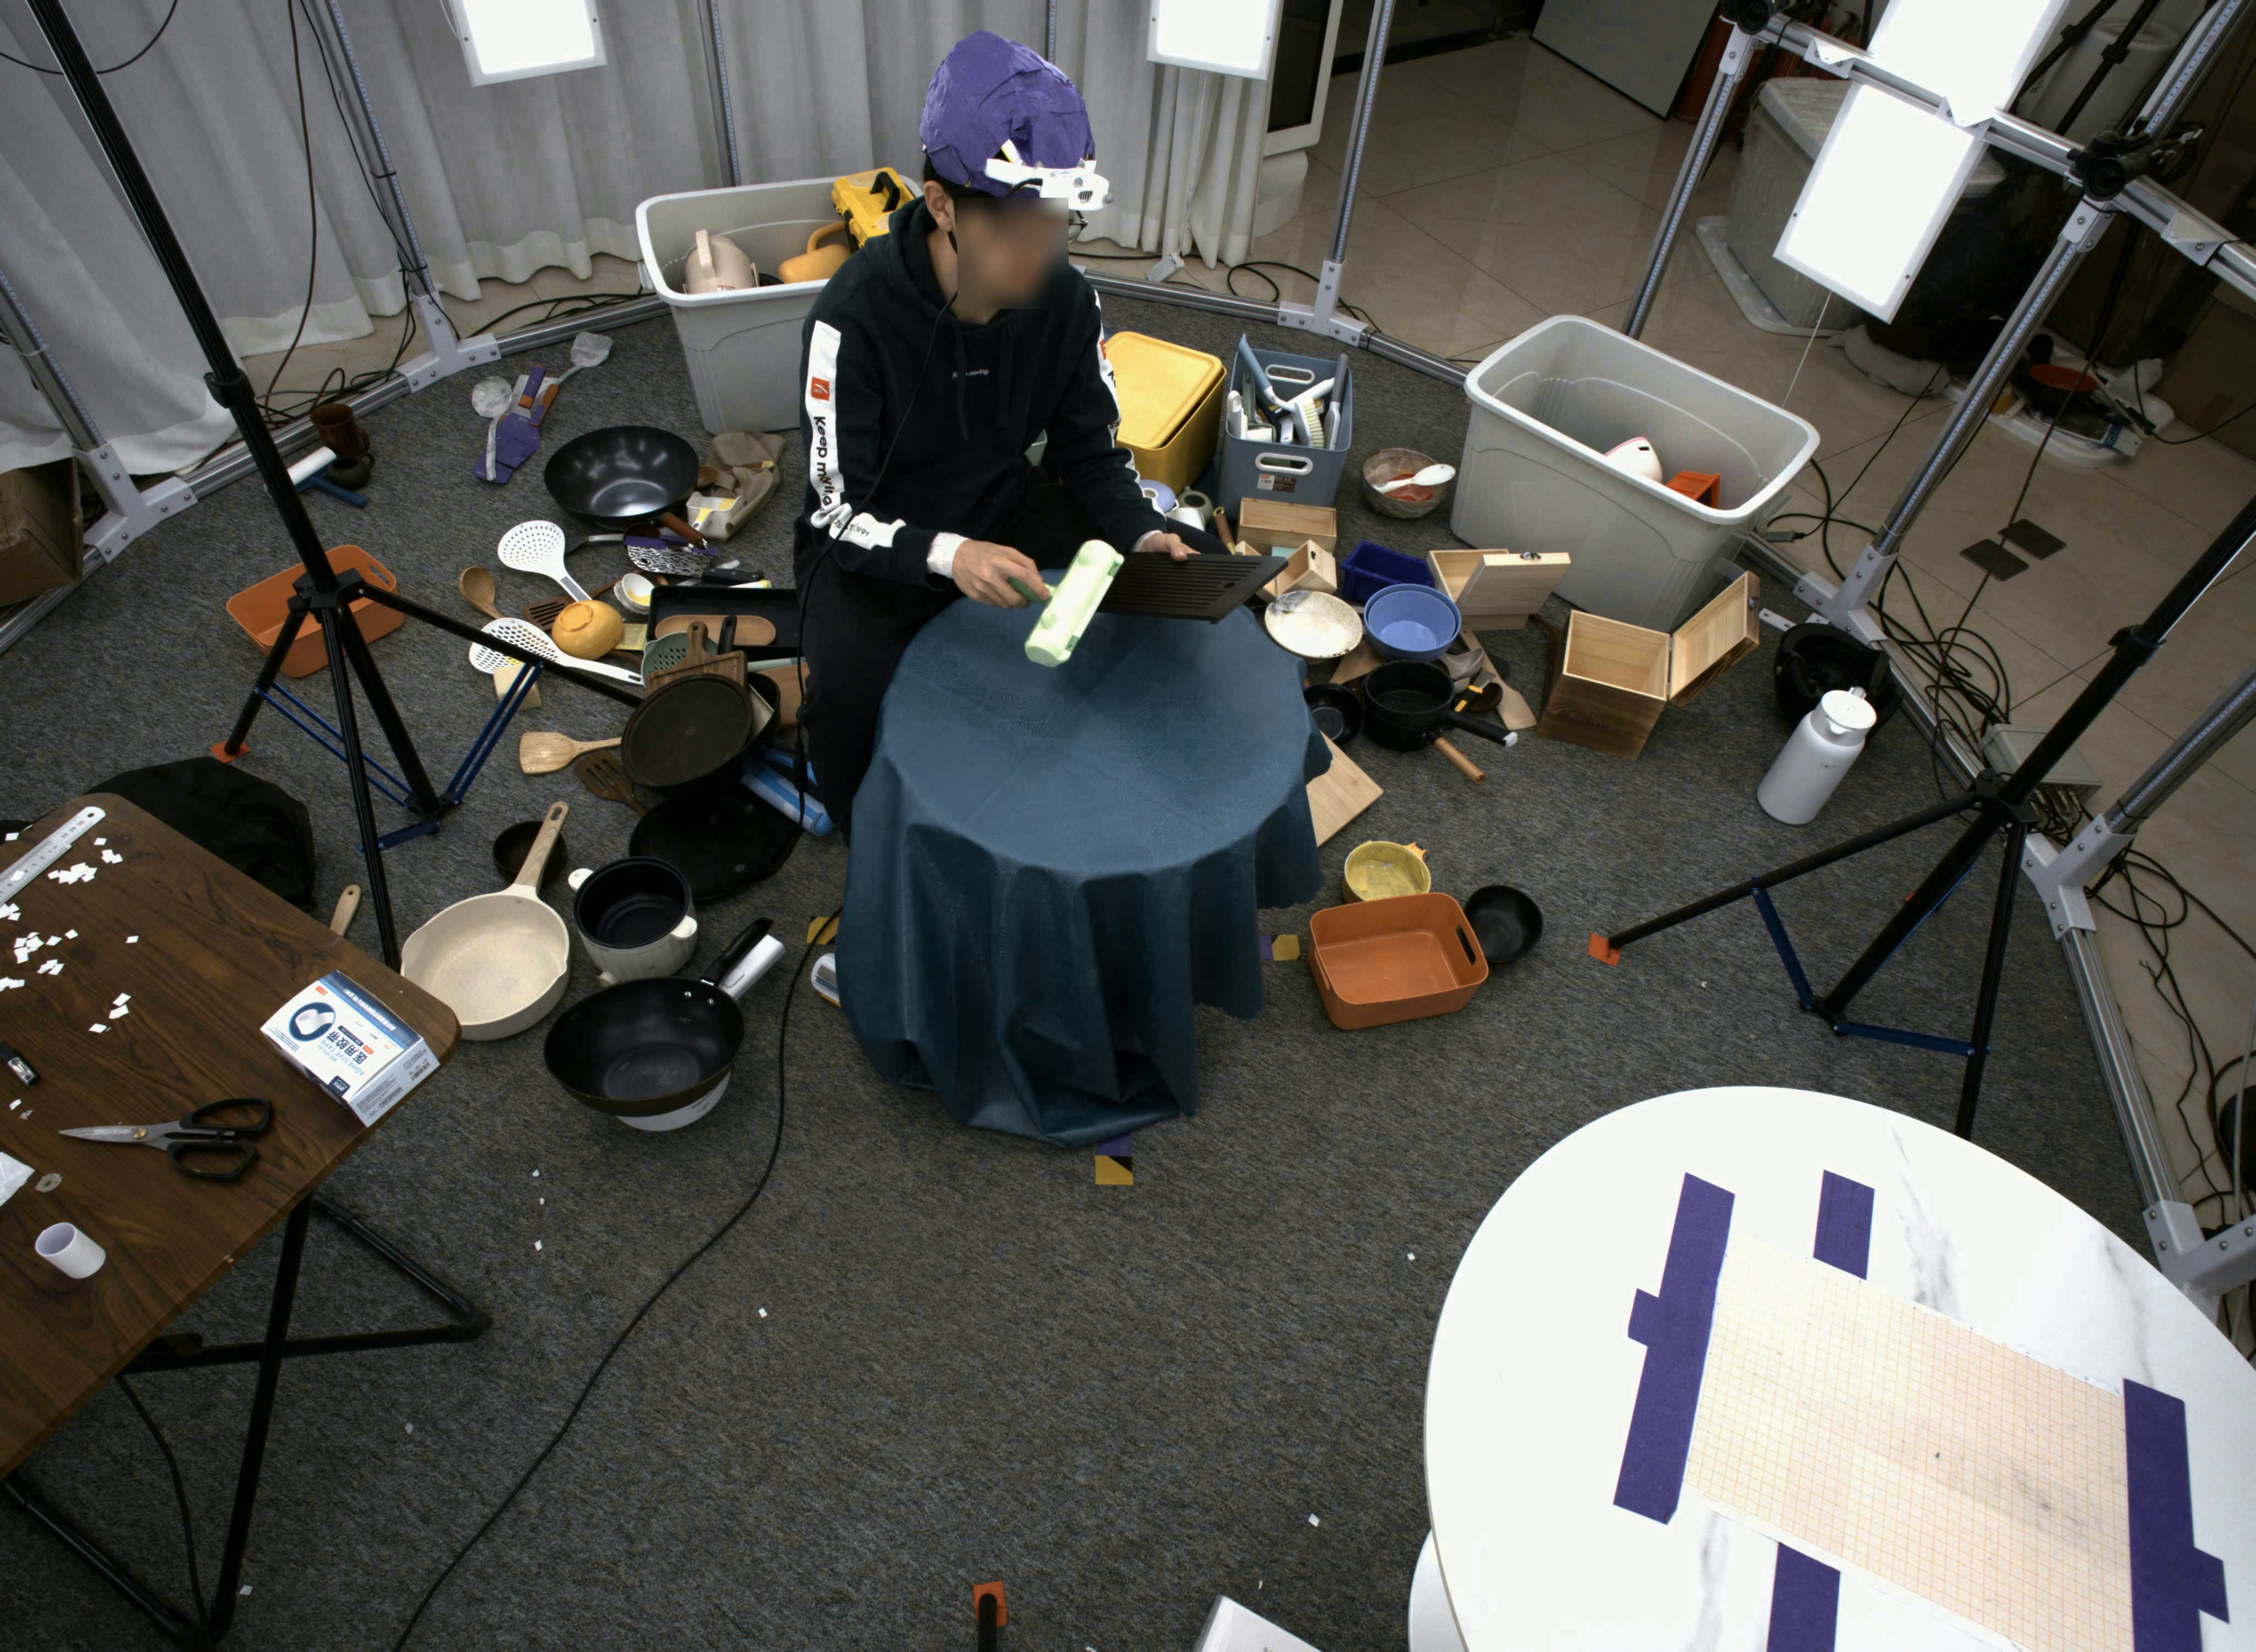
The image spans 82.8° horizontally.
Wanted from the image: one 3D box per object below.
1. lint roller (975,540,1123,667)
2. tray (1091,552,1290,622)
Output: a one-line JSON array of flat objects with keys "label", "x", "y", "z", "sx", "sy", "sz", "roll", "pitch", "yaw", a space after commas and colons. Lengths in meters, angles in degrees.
[{"label": "lint roller", "x": -0.125, "y": -0.329, "z": 1.754, "sx": 0.184, "sy": 0.080, "sz": 0.202, "roll": 23, "pitch": 64, "yaw": 7}, {"label": "tray", "x": 0.064, "y": -0.338, "z": 1.806, "sx": 0.308, "sy": 0.018, "sz": 0.172, "roll": 12, "pitch": 43, "yaw": 43}]
